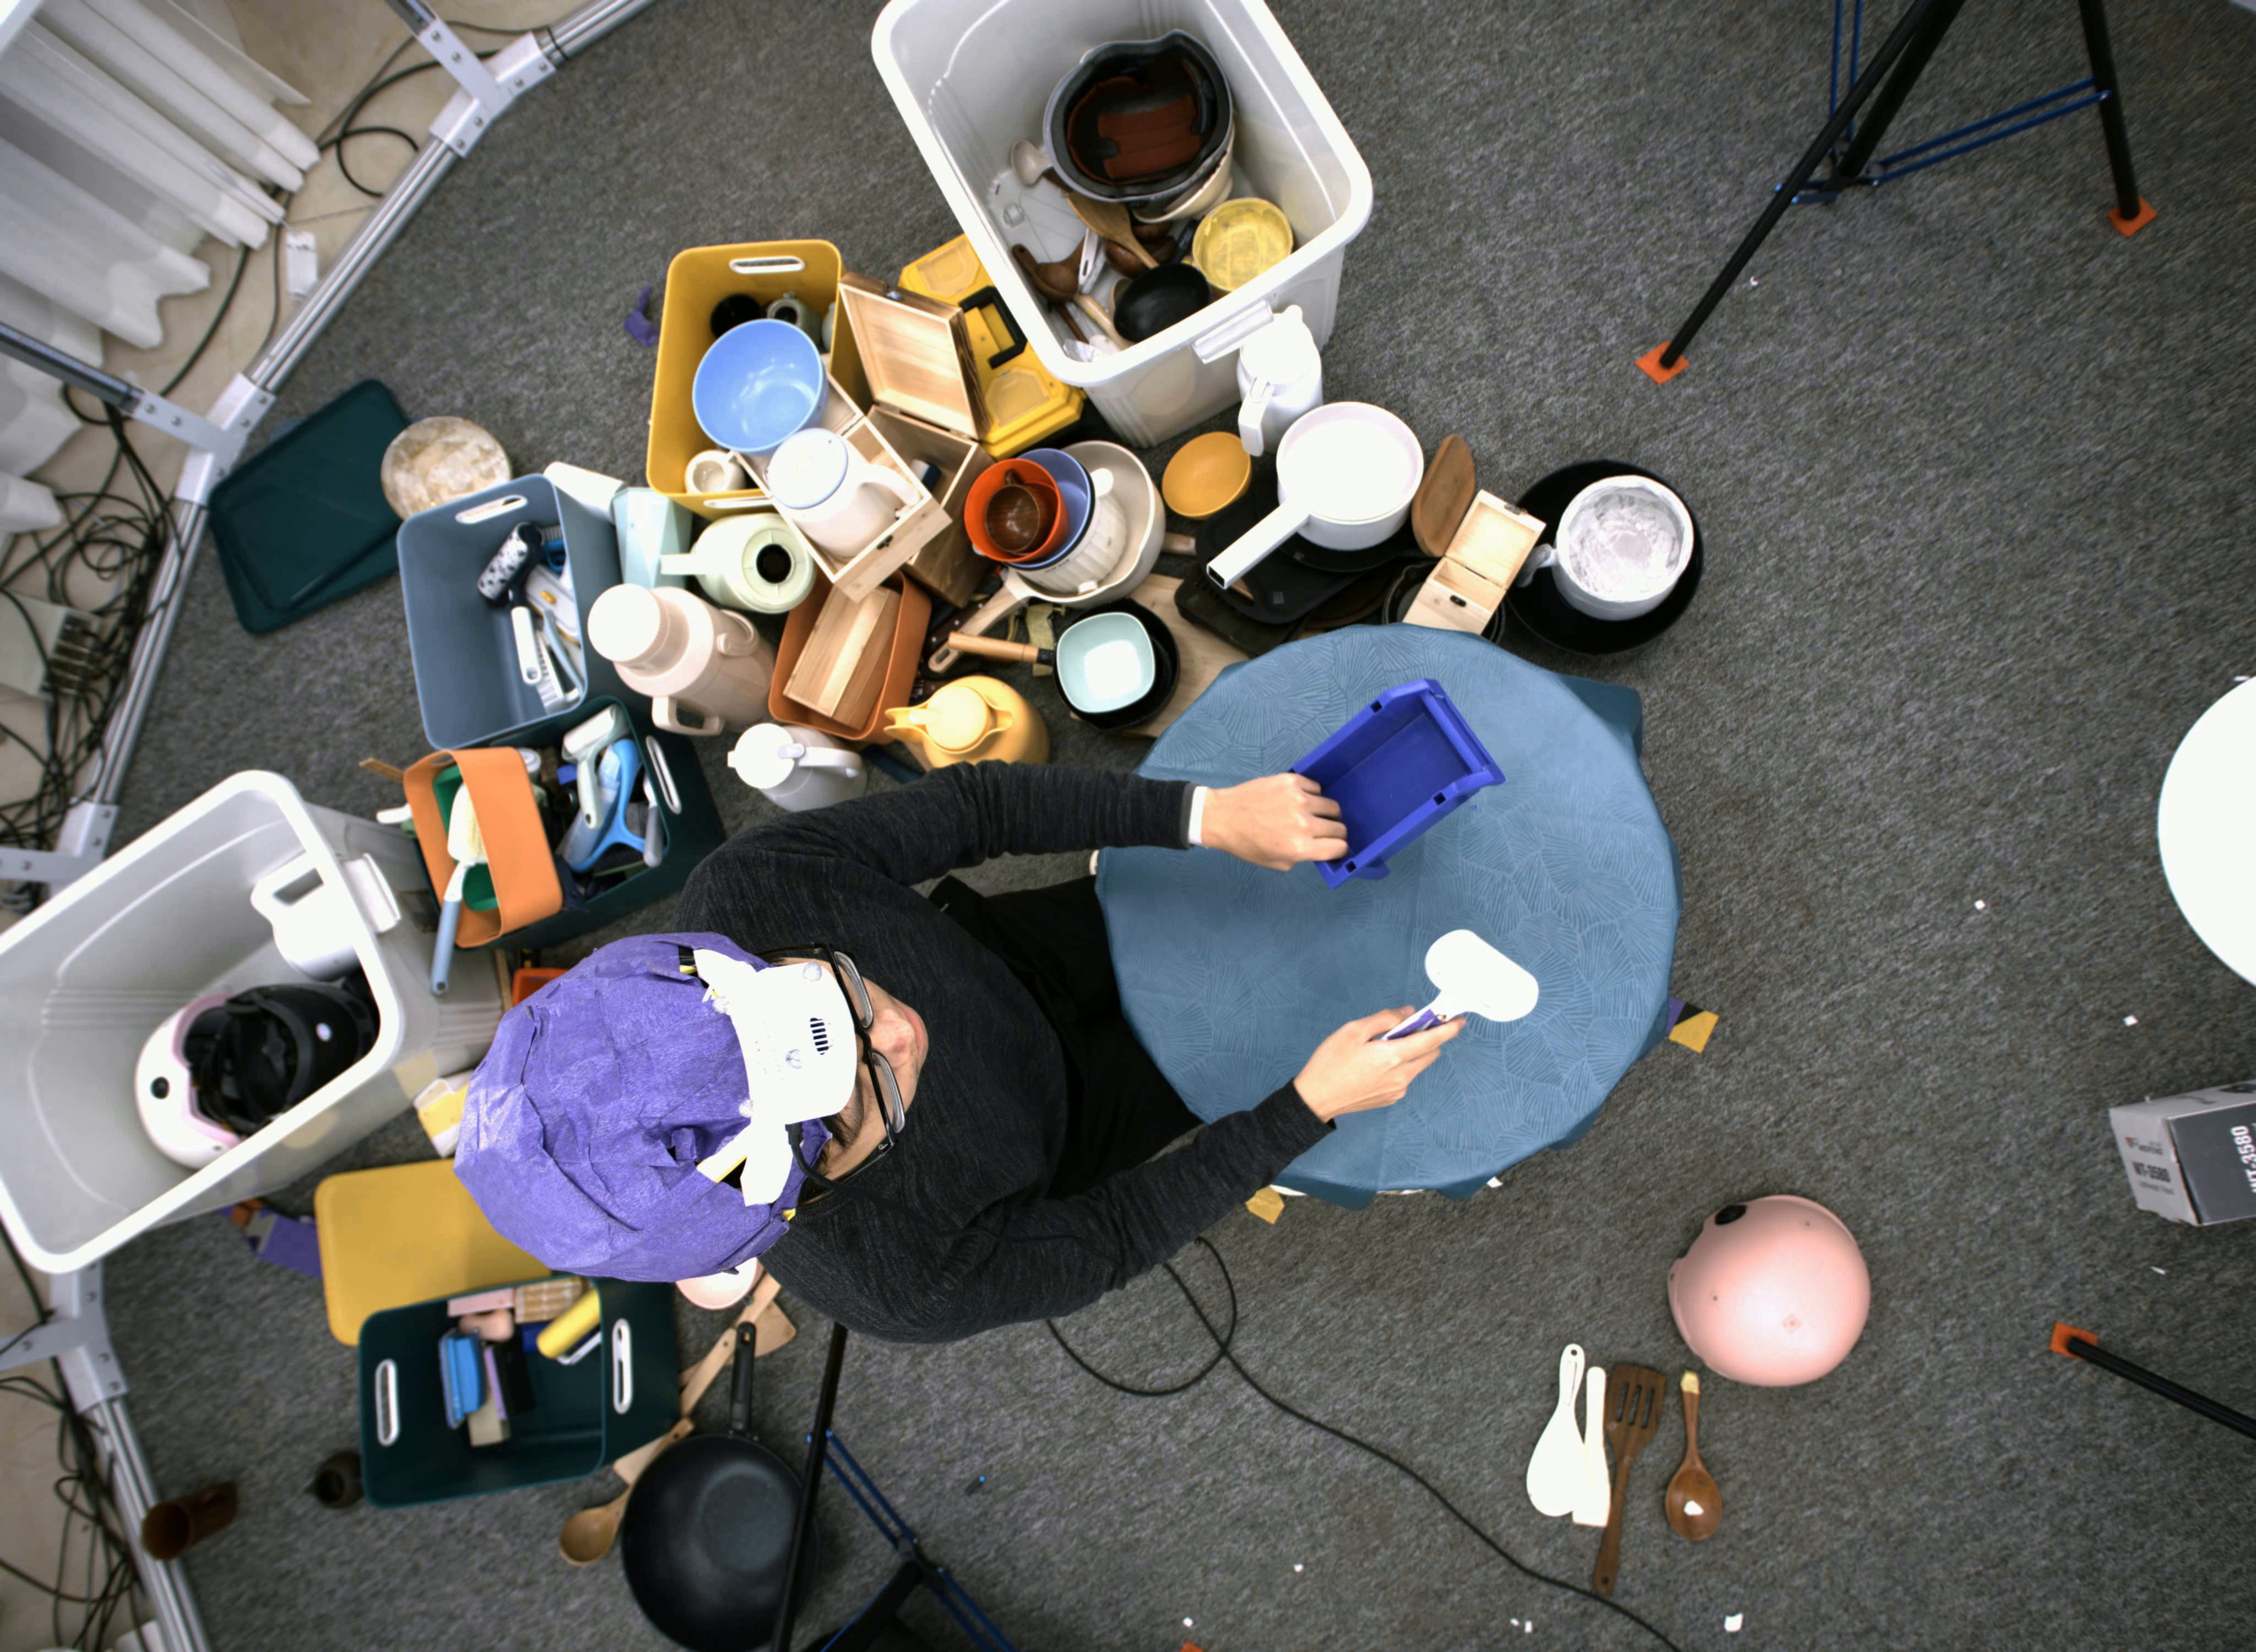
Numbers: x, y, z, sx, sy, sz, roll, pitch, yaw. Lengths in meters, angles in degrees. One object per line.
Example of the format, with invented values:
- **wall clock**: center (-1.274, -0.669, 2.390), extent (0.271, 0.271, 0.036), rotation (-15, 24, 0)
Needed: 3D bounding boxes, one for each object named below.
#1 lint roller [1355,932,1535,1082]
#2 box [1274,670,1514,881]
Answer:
- **lint roller**: center (0.277, 0.179, 1.256), extent (0.183, 0.134, 0.049), rotation (-49, 39, 16)
- **box**: center (0.246, -0.049, 1.277), extent (0.183, 0.081, 0.123), rotation (-40, 66, 29)
